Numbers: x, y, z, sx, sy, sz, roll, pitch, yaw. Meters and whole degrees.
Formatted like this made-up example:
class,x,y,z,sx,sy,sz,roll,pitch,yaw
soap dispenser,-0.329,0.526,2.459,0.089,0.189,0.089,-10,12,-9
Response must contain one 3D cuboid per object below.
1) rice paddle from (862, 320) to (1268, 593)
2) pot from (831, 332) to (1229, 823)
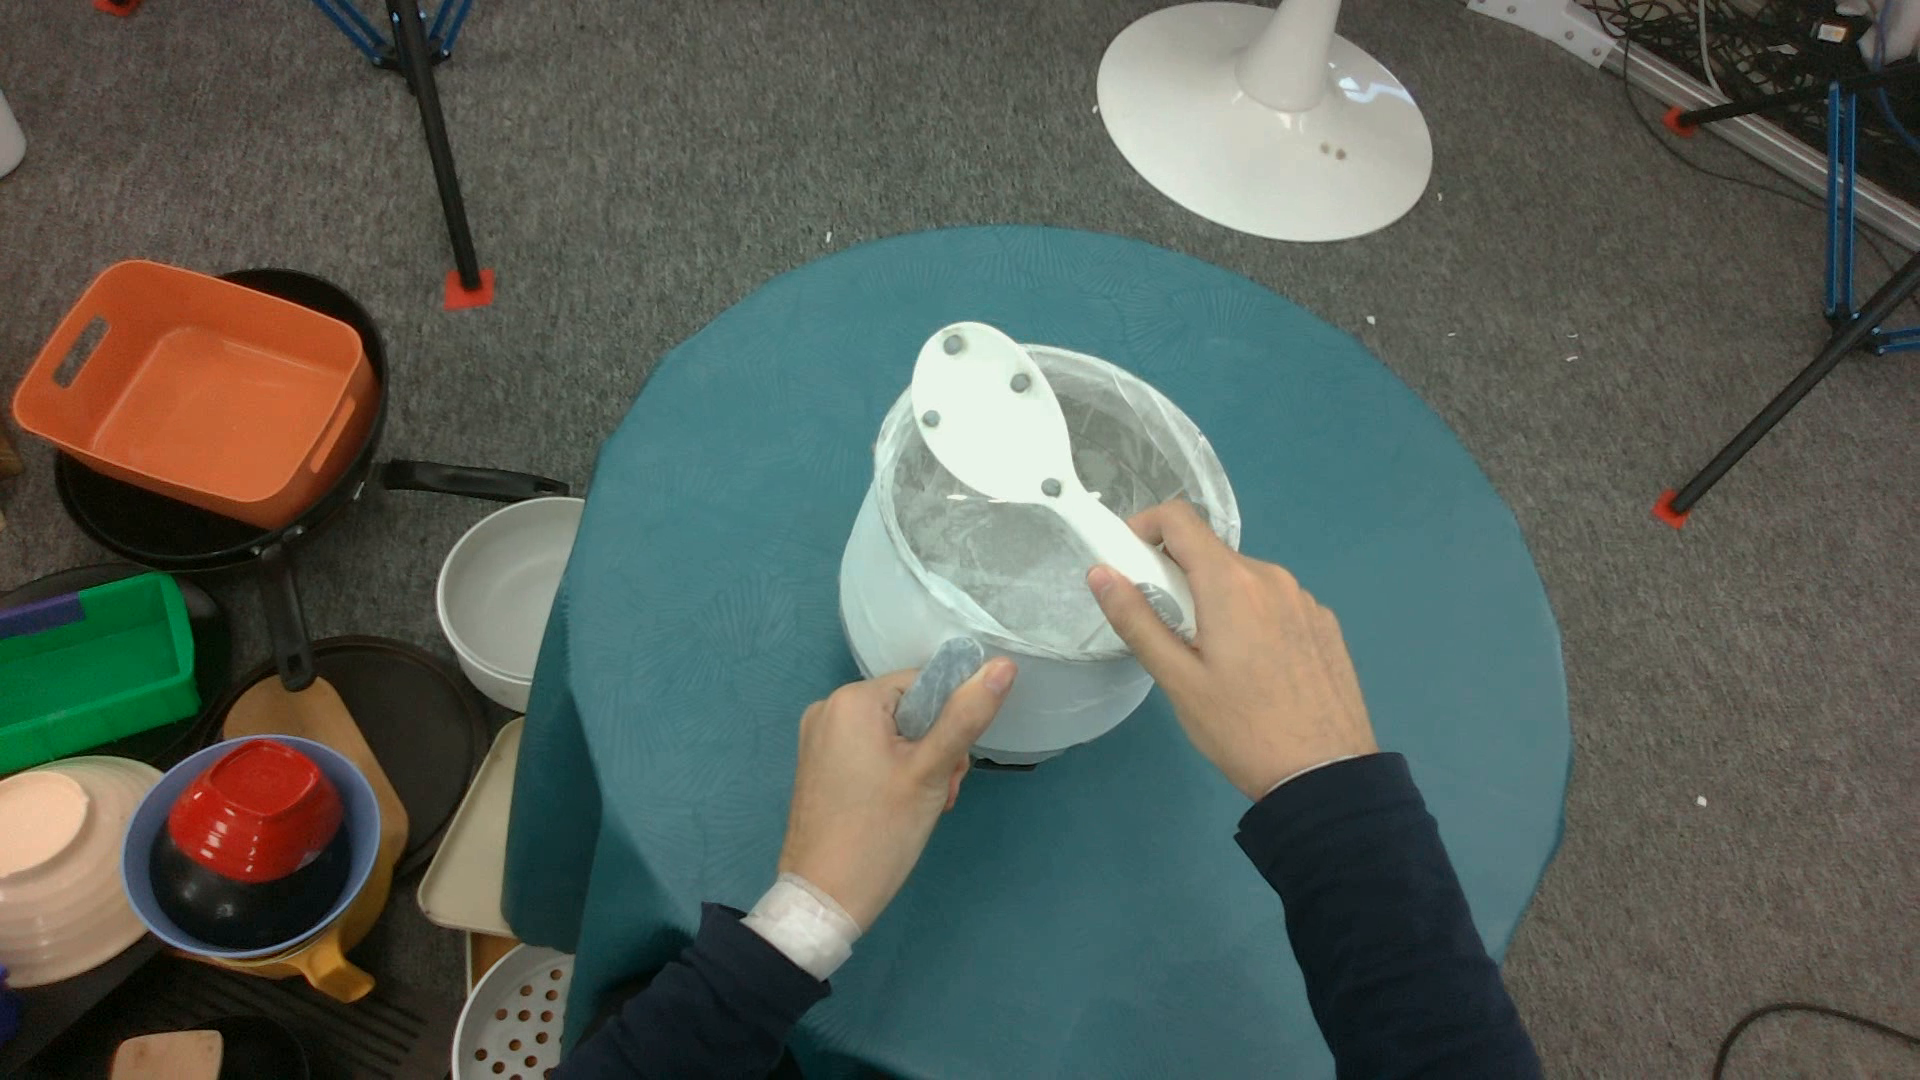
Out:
class,x,y,z,sx,sy,sz,roll,pitch,yaw
rice paddle,0.037,-0.037,0.606,0.205,0.068,0.029,29,27,21
pot,0.017,0.024,0.672,0.179,0.136,0.235,26,53,6
